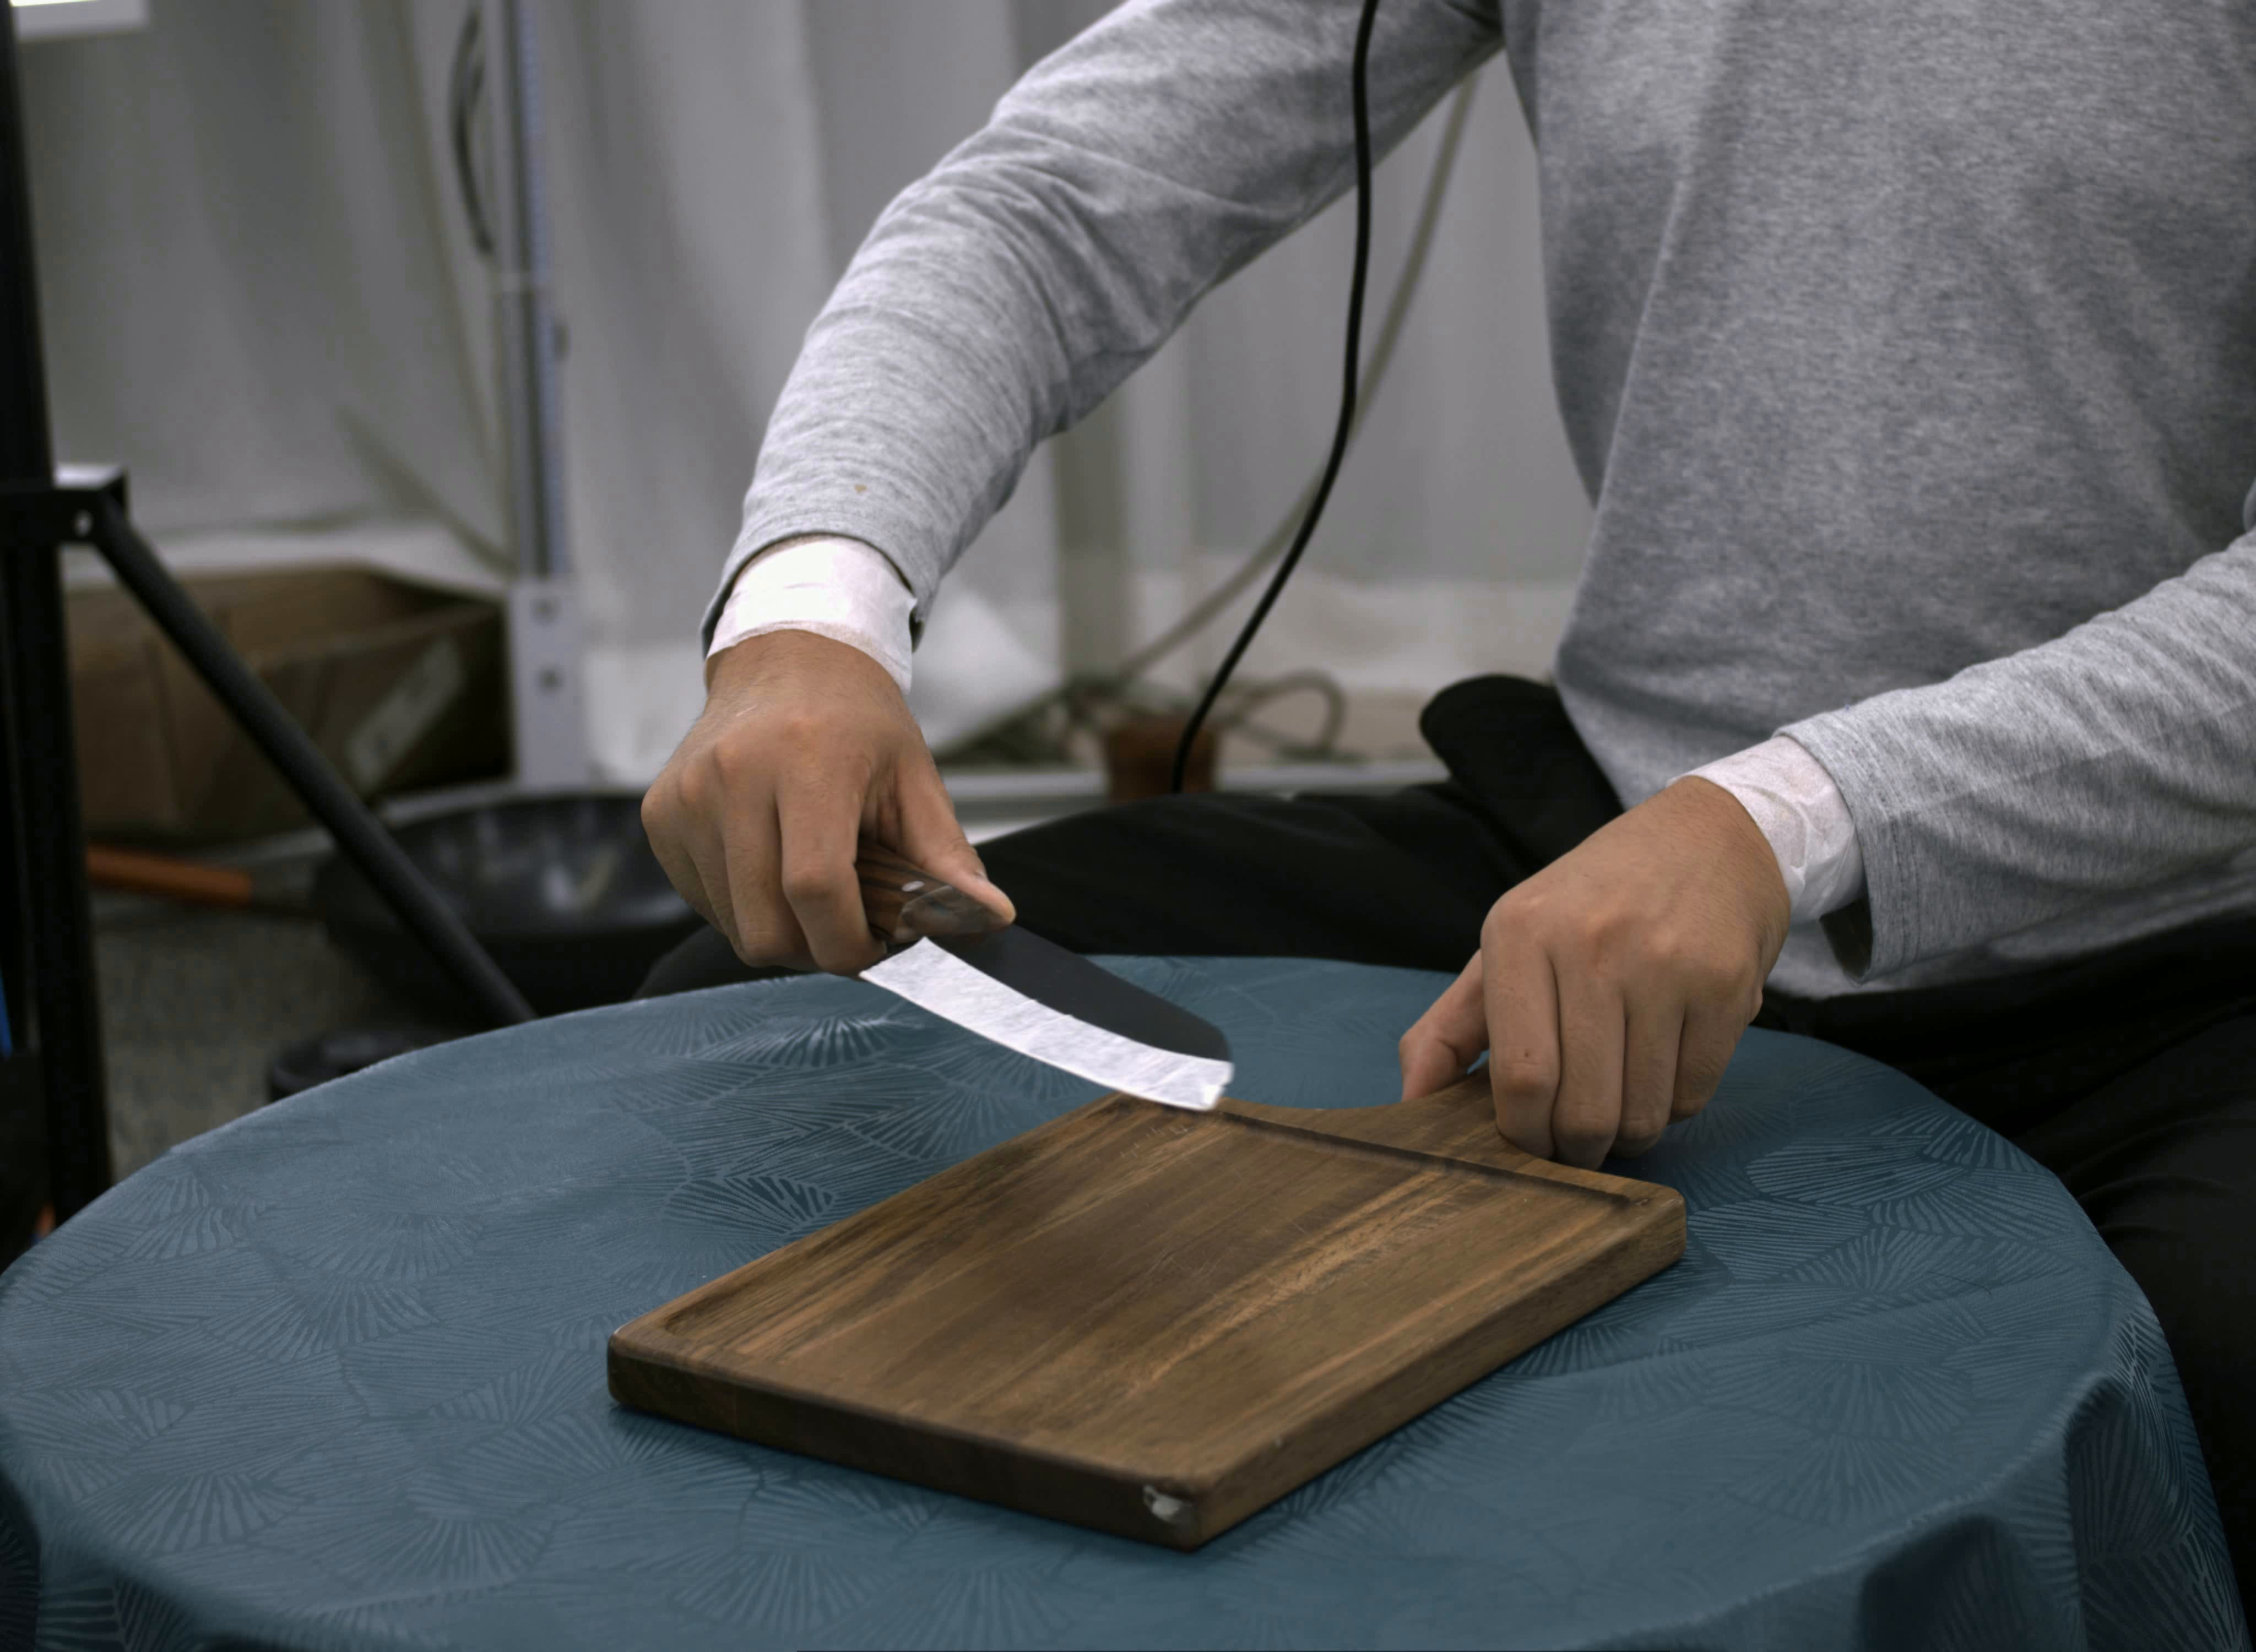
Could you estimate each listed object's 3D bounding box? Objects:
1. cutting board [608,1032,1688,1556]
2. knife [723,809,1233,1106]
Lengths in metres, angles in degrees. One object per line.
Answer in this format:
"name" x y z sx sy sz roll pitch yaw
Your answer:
"cutting board" 0.039 0.116 1.488 0.205 0.023 0.345 10 20 35
"knife" -0.047 0.038 1.519 0.049 0.020 0.295 -27 25 -20
